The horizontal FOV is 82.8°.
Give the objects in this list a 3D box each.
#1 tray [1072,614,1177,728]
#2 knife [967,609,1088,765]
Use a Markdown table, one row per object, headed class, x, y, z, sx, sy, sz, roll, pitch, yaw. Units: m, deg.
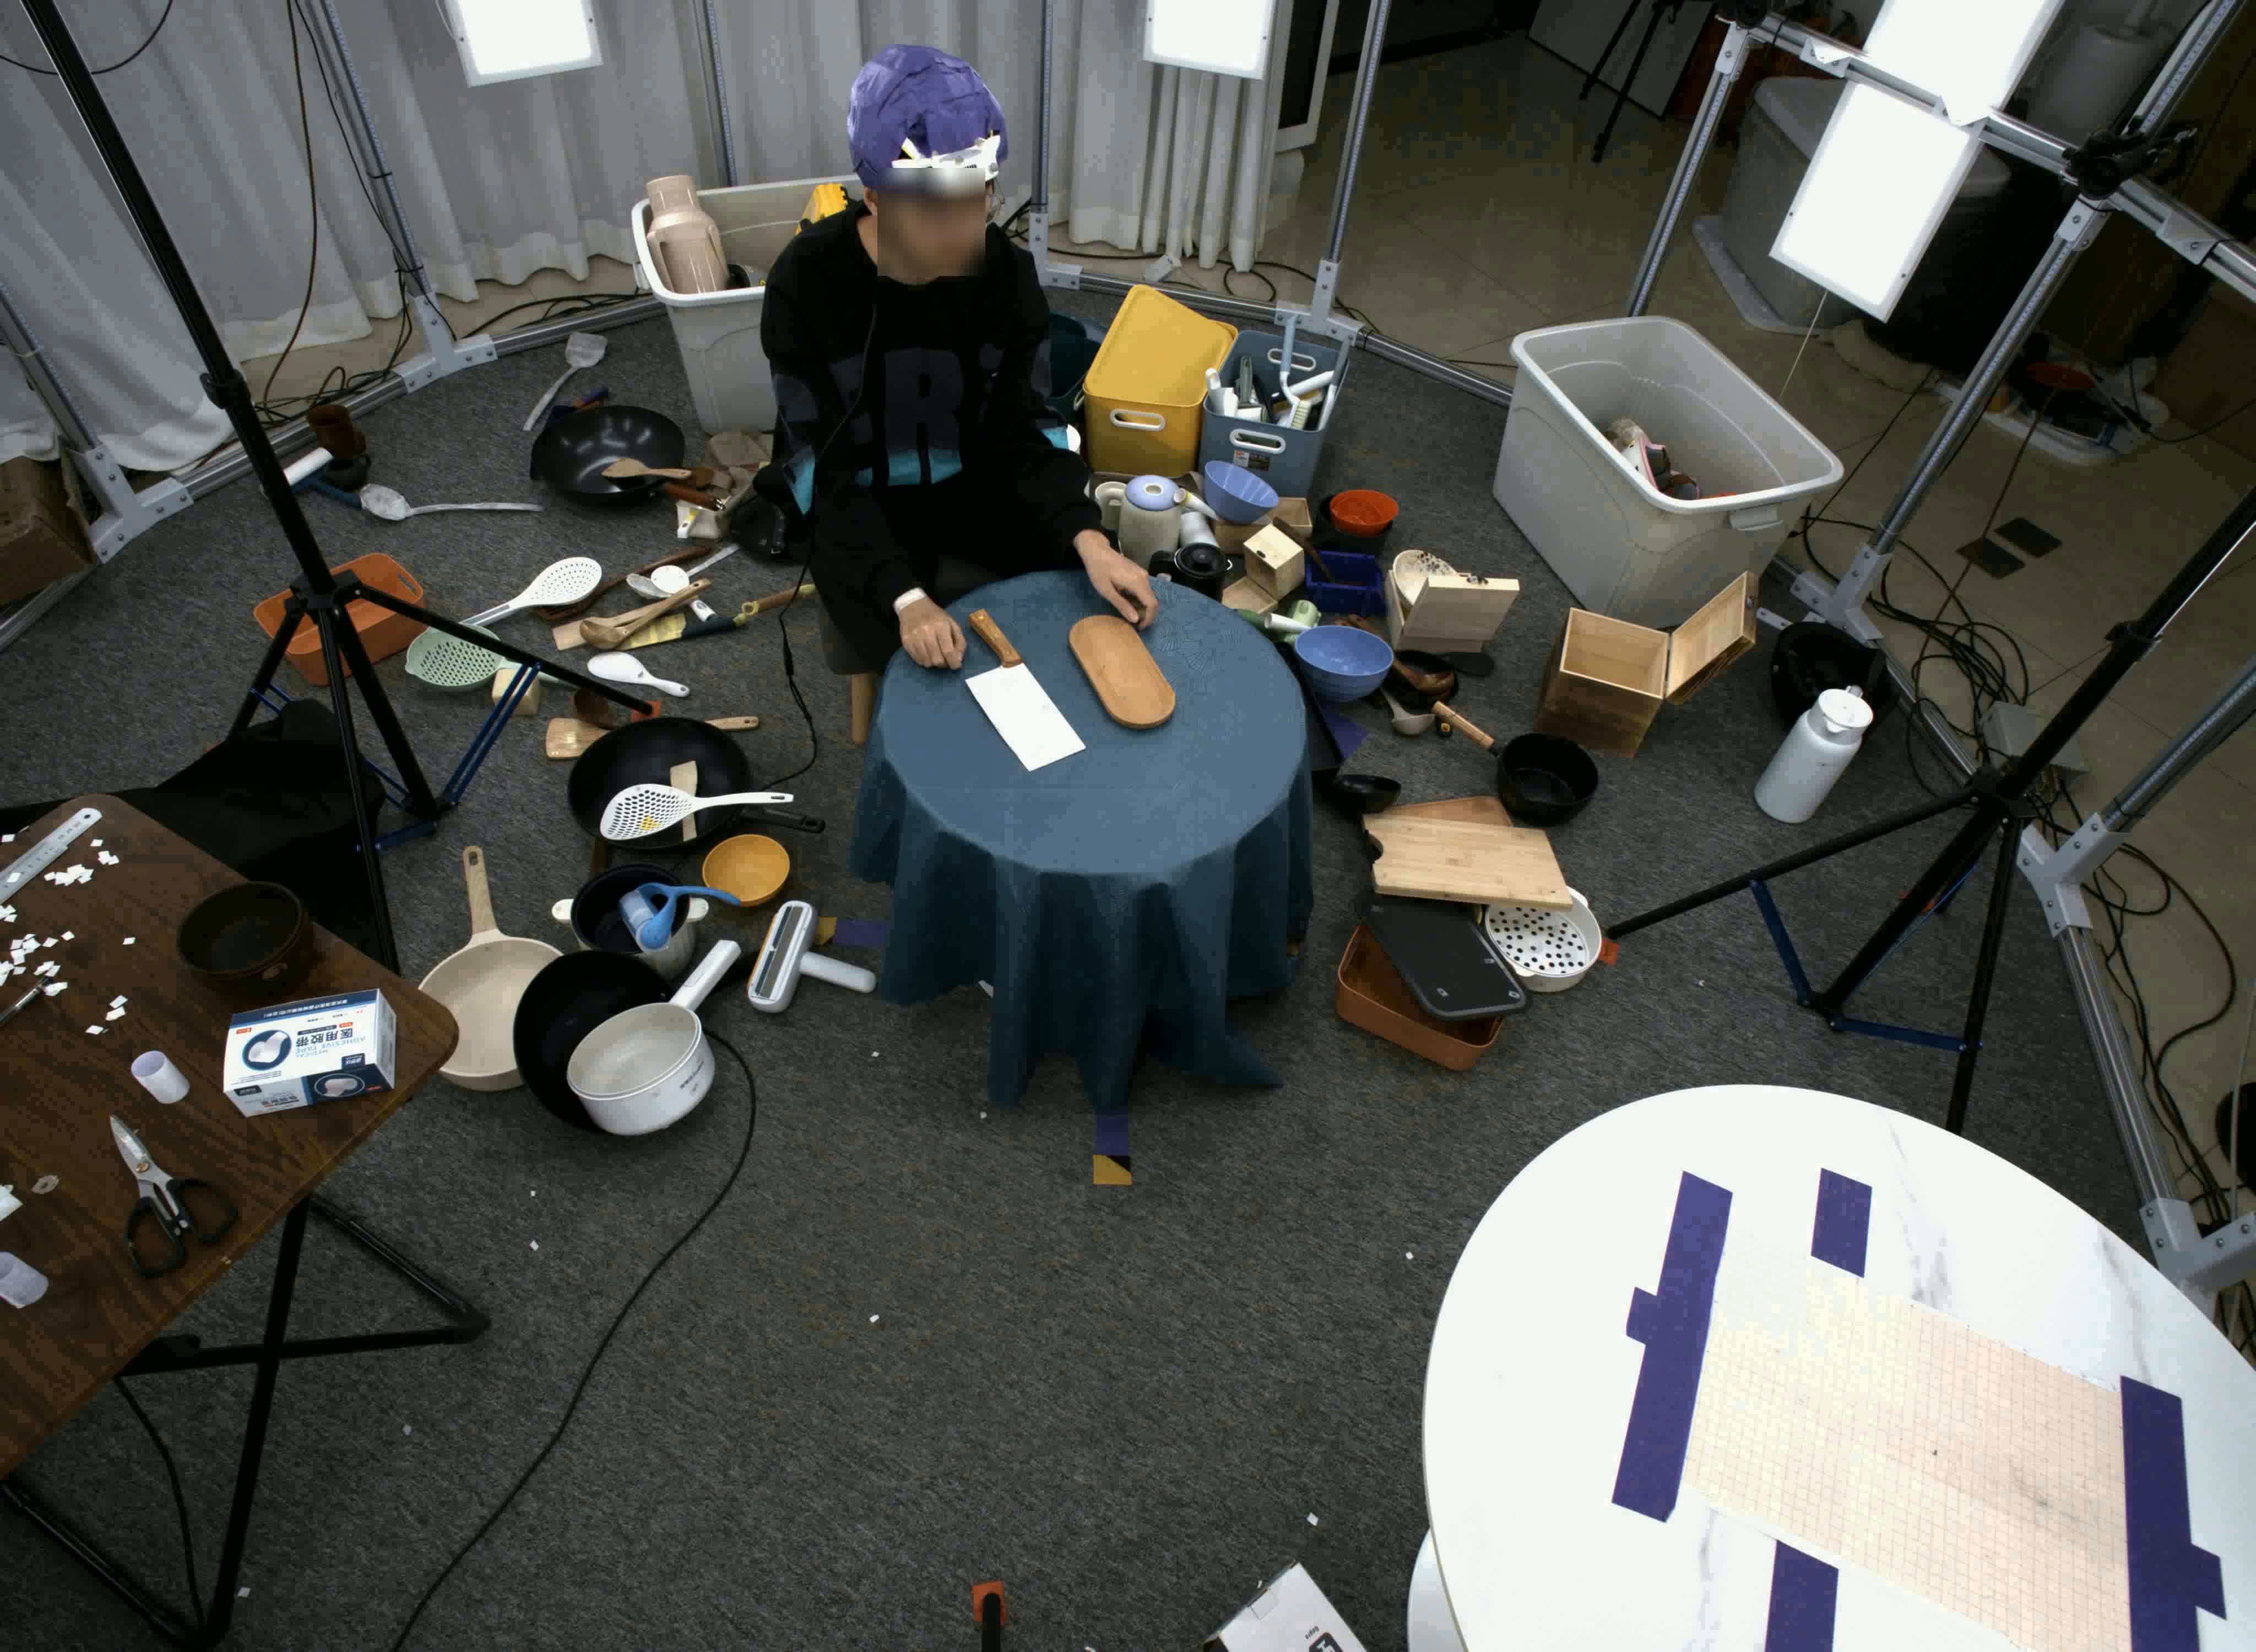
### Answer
| class | x | y | z | sx | sy | sz | roll | pitch | yaw |
| --- | --- | --- | --- | --- | --- | --- | --- | --- | --- |
| tray | -0.007 | -0.226 | 1.854 | 0.102 | 0.020 | 0.236 | -15 | 51 | -17 |
| knife | -0.168 | -0.198 | 1.819 | 0.093 | 0.020 | 0.312 | -23 | 57 | -20 |
